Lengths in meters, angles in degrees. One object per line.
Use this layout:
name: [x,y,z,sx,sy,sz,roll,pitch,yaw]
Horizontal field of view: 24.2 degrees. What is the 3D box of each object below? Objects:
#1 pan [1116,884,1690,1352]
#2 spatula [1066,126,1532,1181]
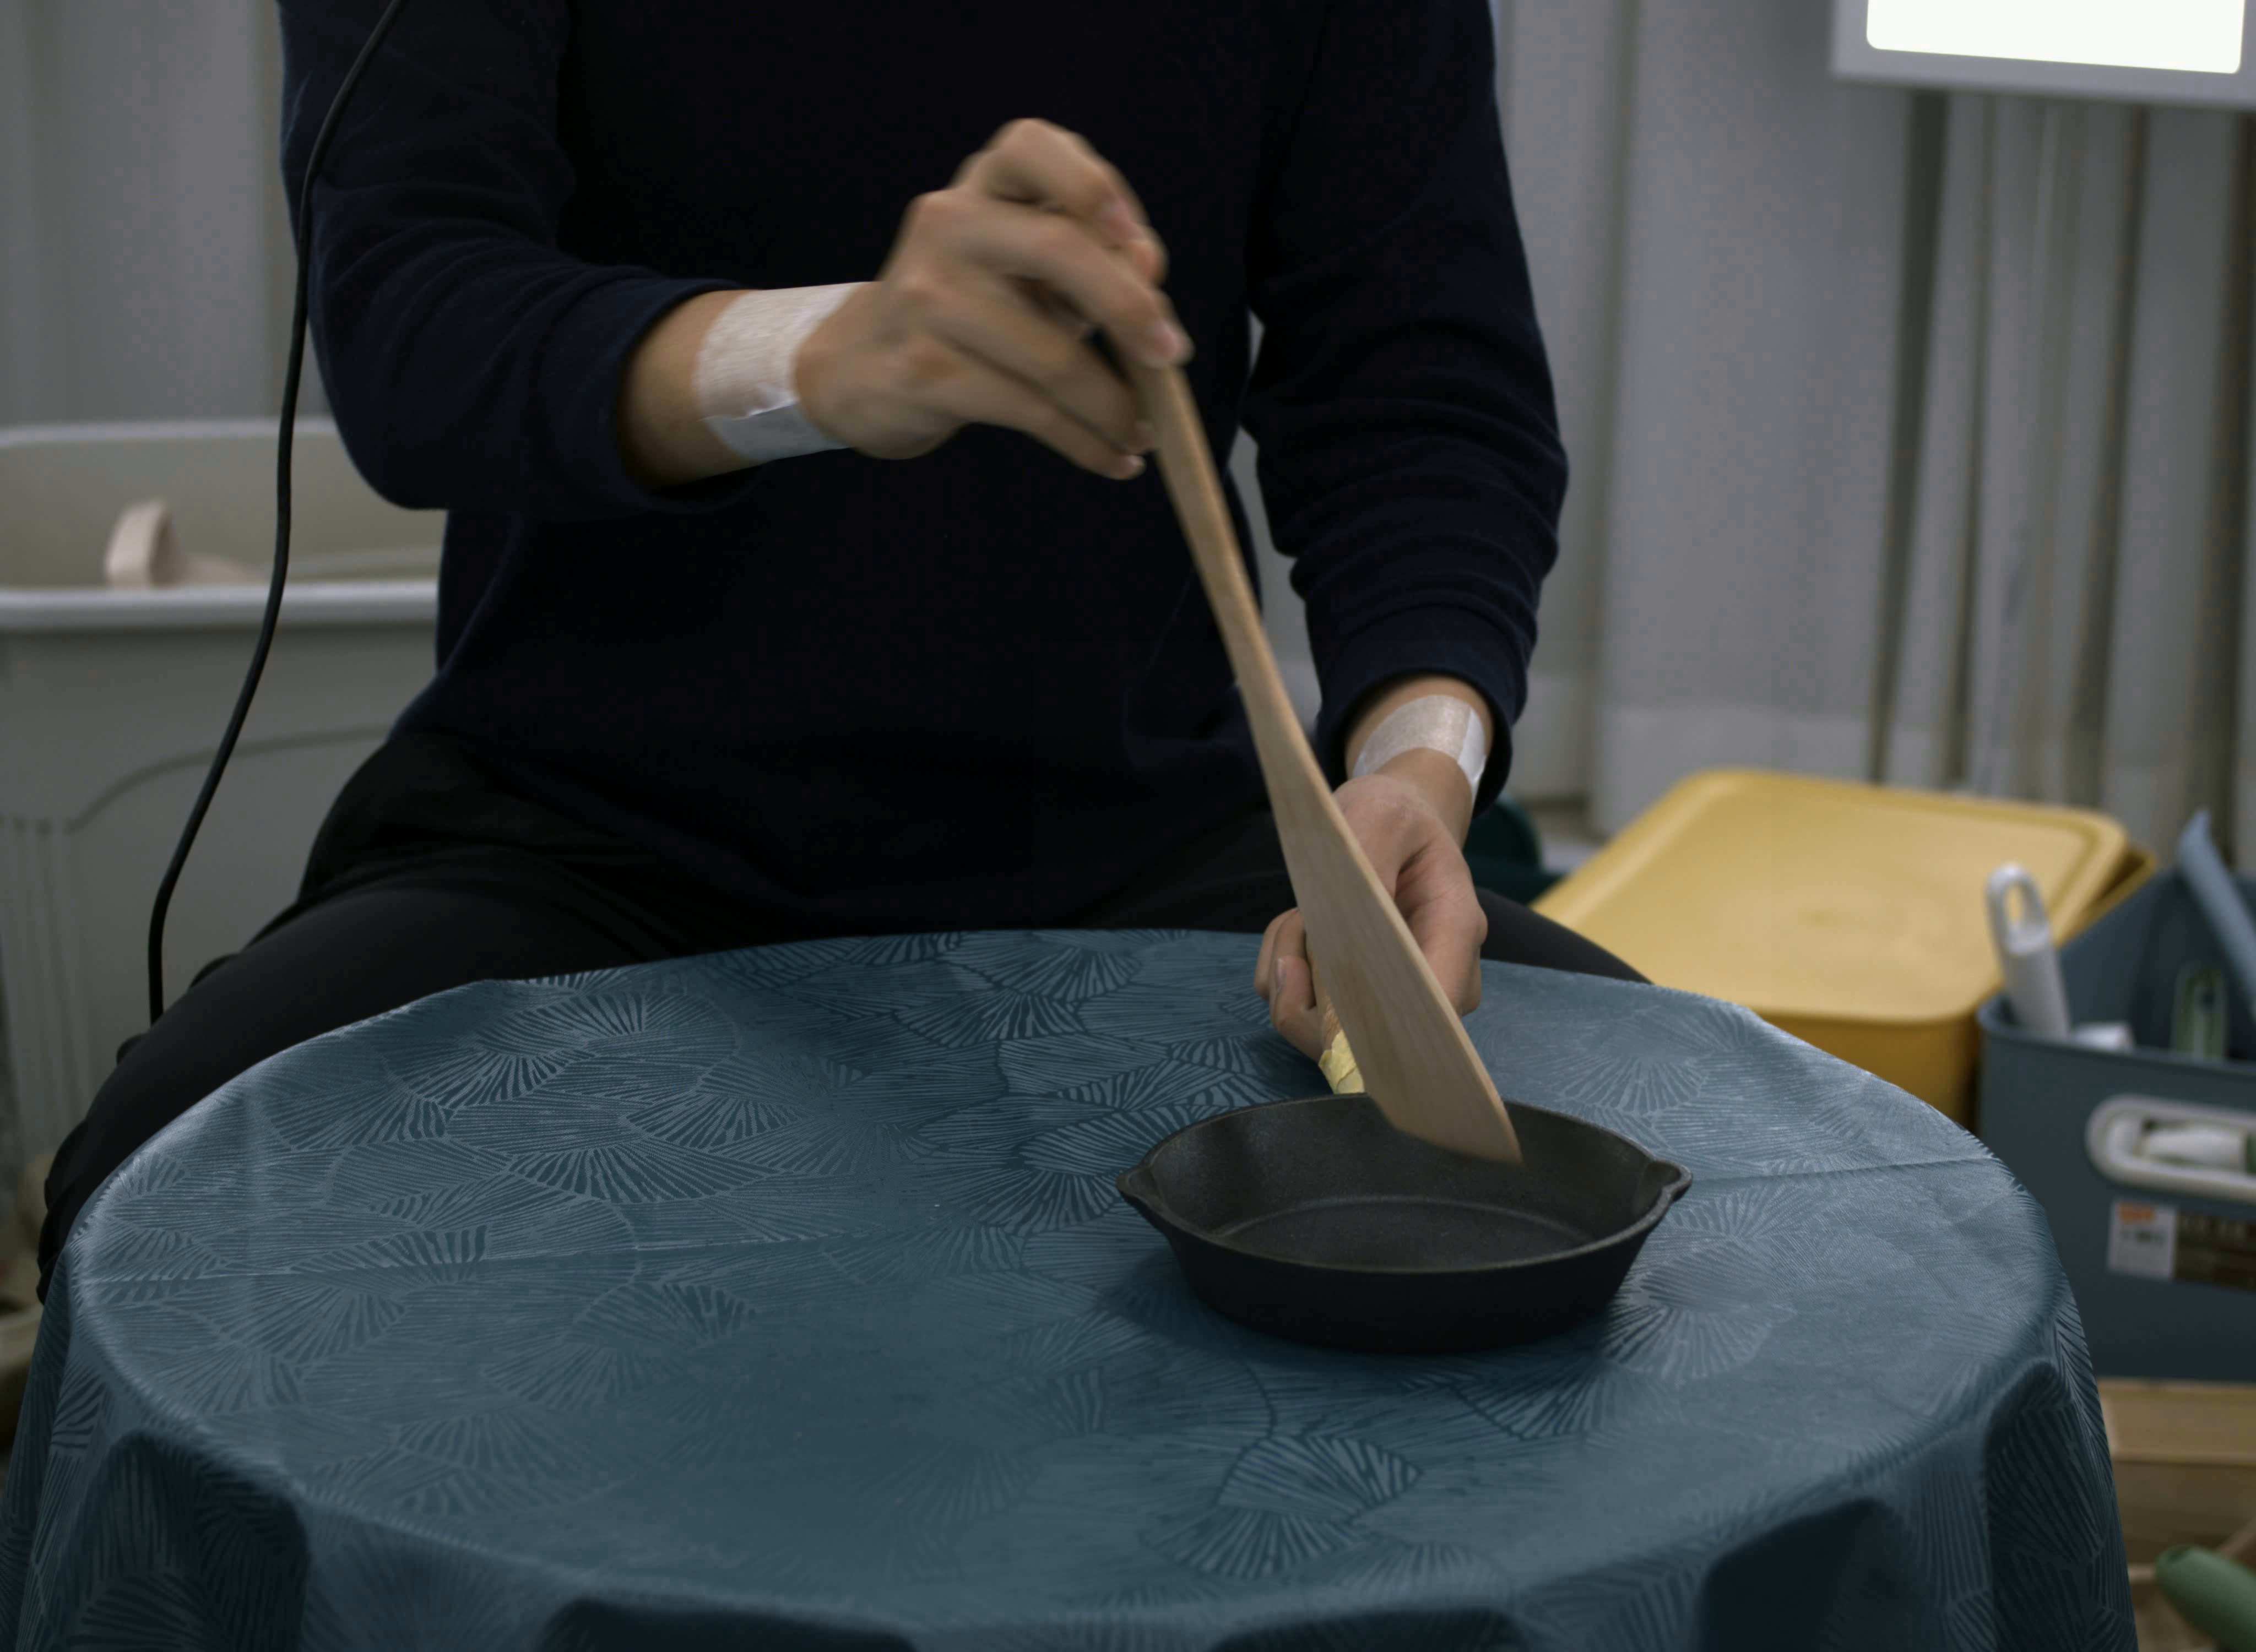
pan: [0.079,0.086,1.623,0.168,0.050,0.322,0,17,-1]
spatula: [0.043,-0.047,1.532,0.016,0.329,0.079,-21,6,-25]
